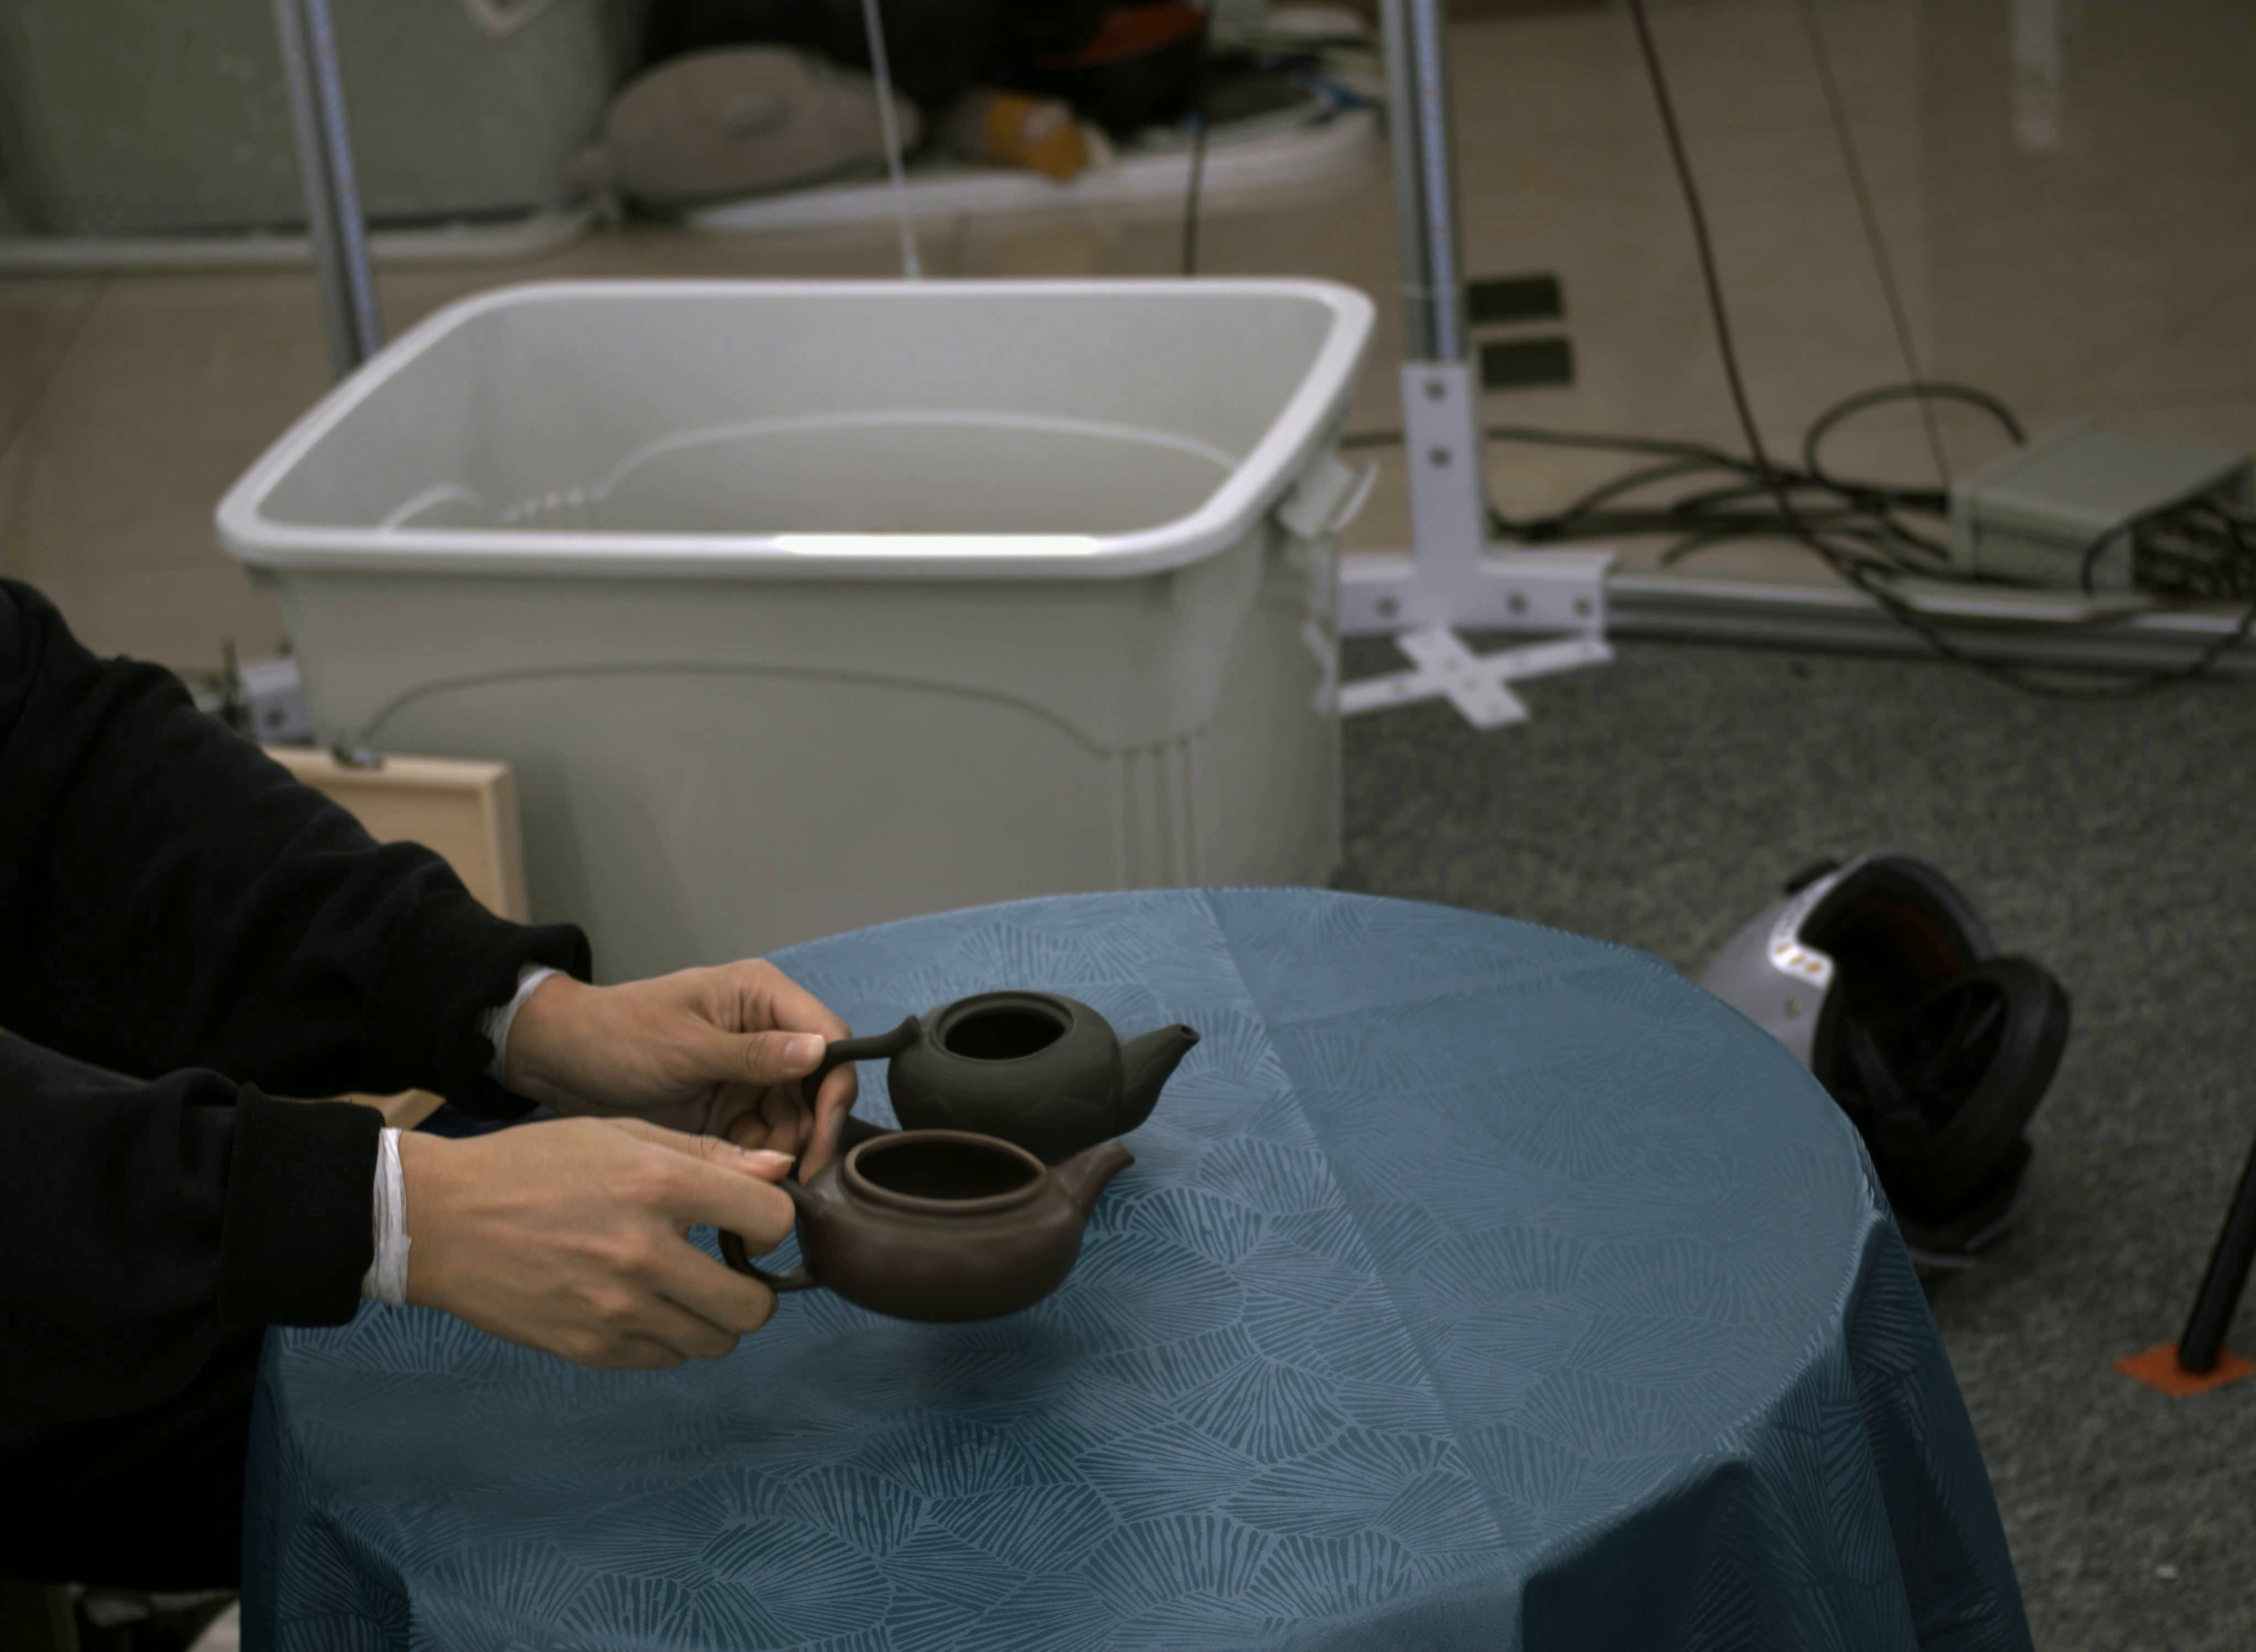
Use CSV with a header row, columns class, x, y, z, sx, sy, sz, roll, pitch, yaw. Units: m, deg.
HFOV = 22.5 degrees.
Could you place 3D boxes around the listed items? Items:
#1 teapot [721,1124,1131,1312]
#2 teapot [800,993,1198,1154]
class,x,y,z,sx,sy,sz,roll,pitch,yaw
teapot,-0.071,0.138,2.020,0.153,0.054,0.101,-4,18,-25
teapot,-0.049,0.100,2.168,0.154,0.065,0.091,-2,24,4
